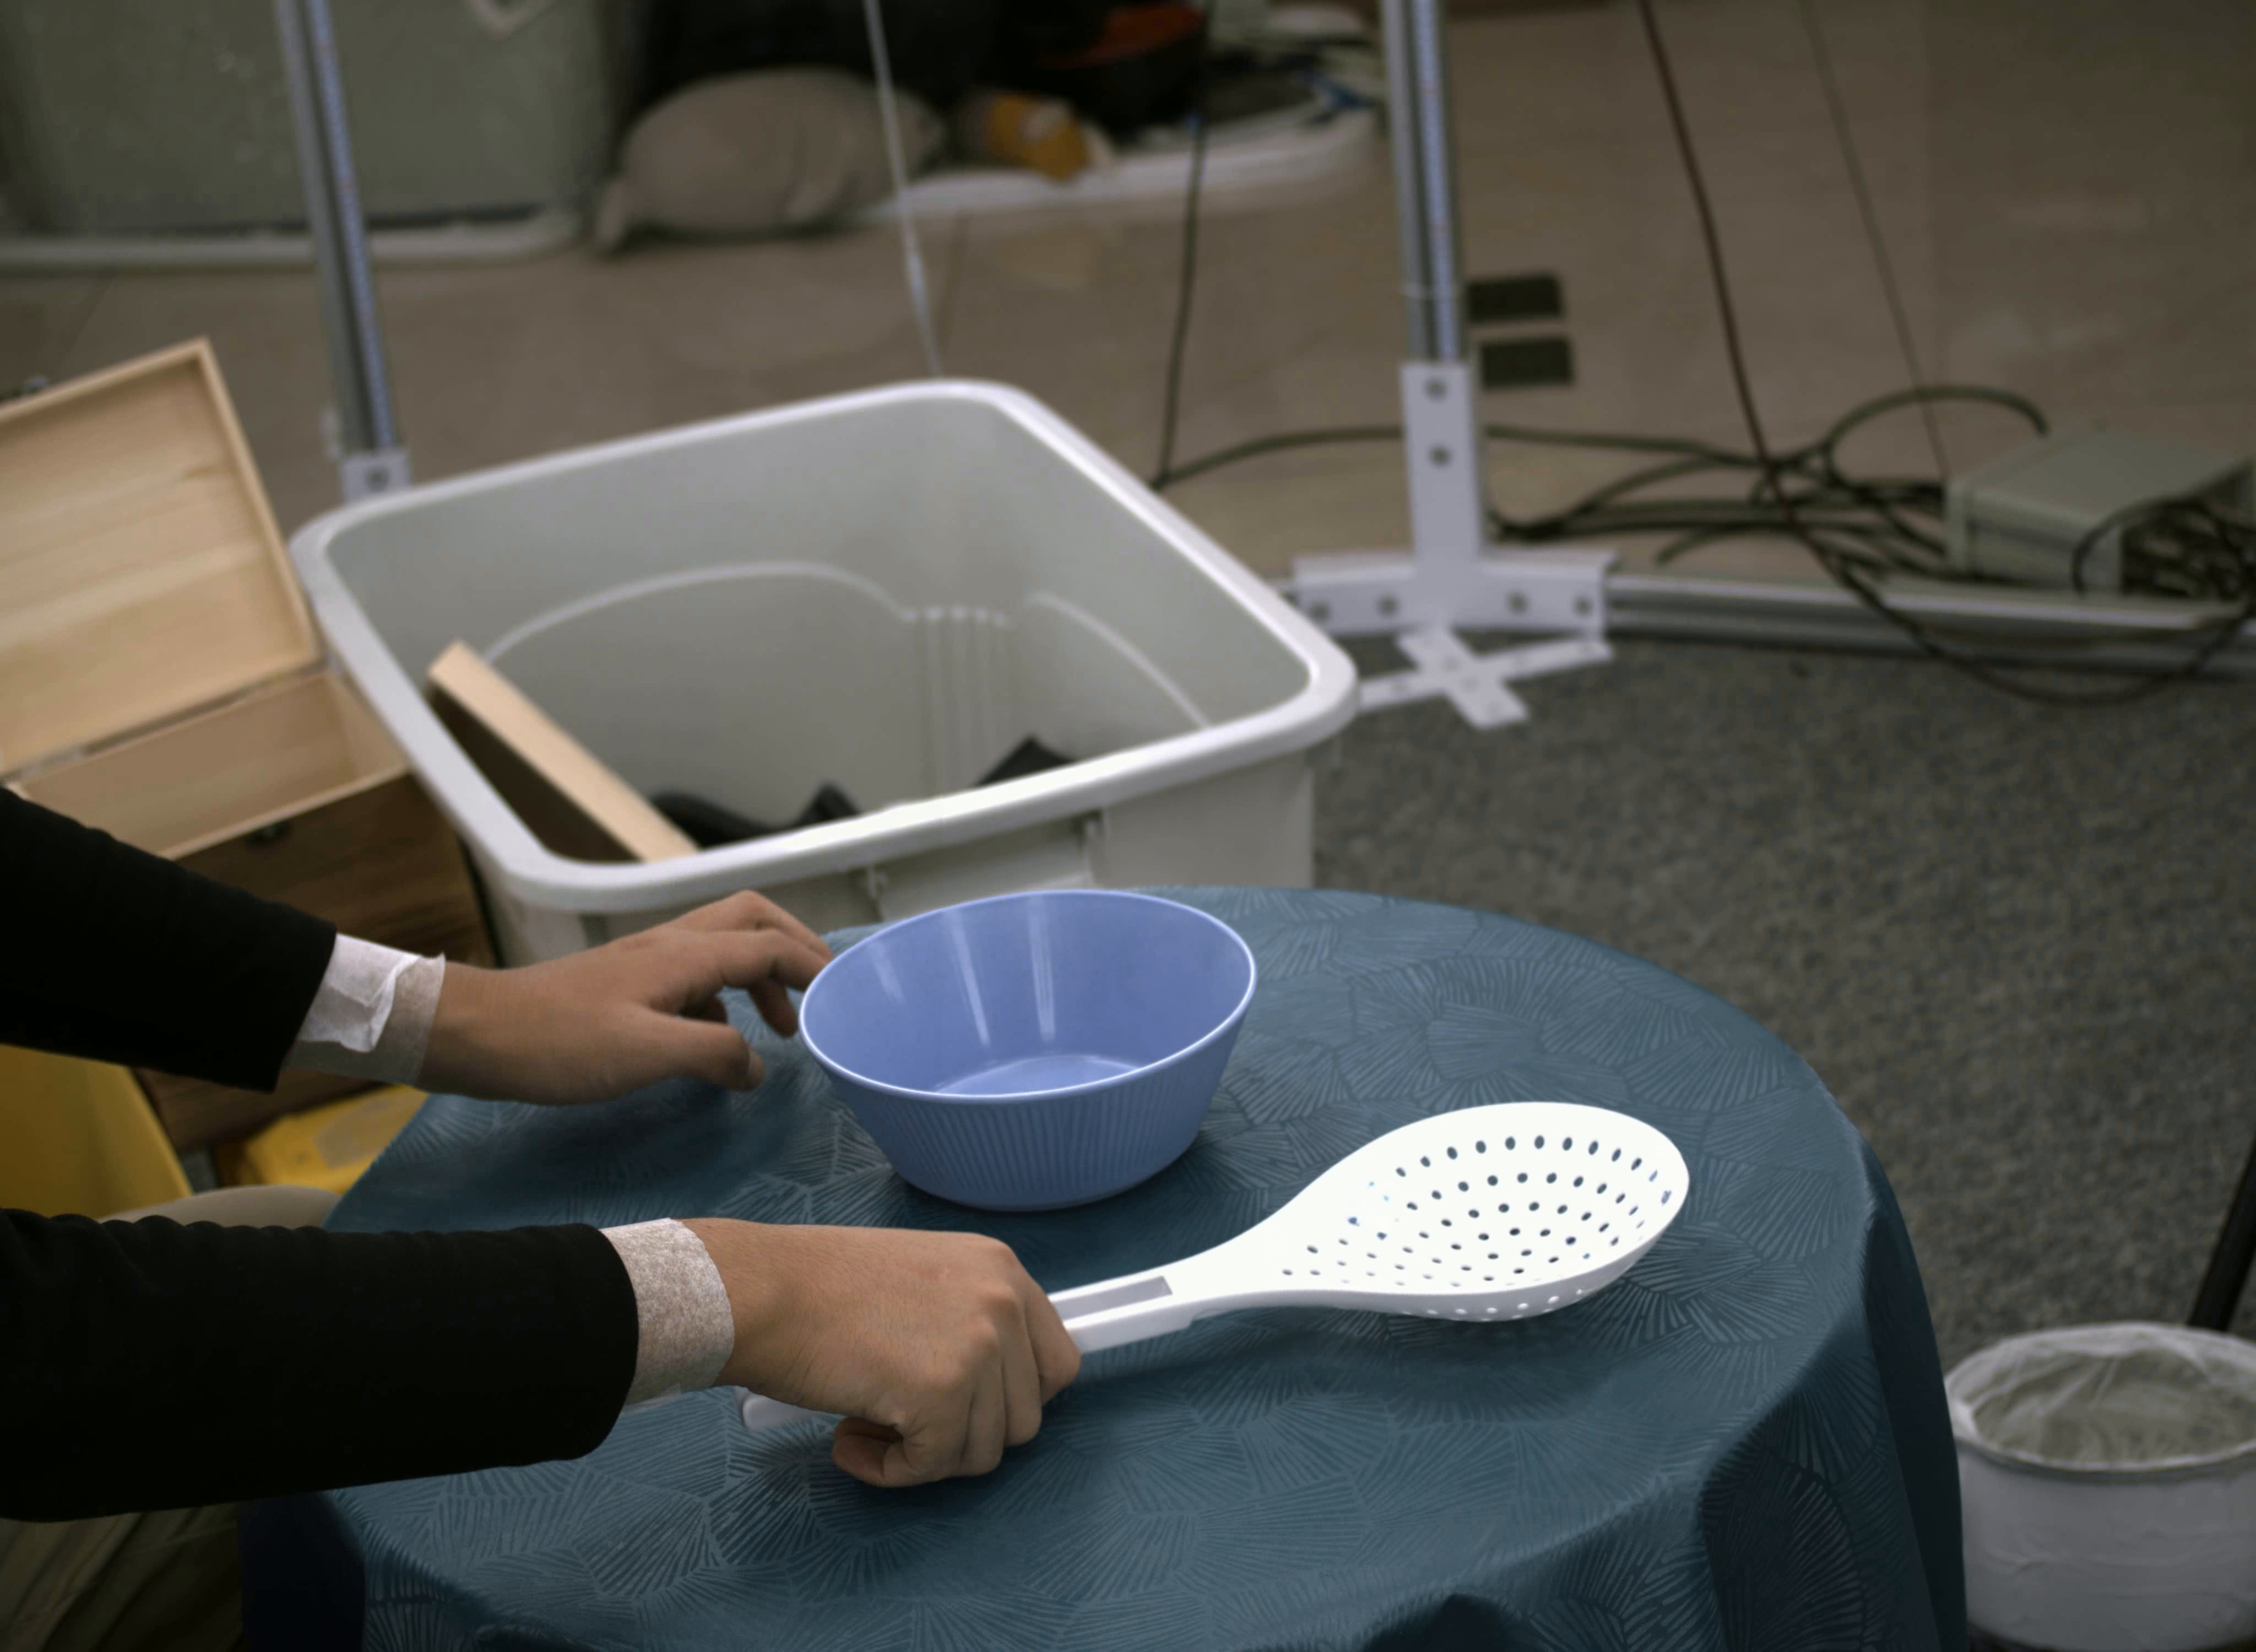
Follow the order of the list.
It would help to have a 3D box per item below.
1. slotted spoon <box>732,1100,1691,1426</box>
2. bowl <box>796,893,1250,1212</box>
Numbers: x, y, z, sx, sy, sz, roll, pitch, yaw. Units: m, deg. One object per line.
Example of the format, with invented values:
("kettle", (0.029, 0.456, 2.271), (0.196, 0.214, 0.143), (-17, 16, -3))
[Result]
("slotted spoon", (0.031, 0.162, 2.018), (0.349, 0.046, 0.134), (-9, 26, -12))
("bowl", (-0.037, 0.092, 2.174), (0.176, 0.071, 0.173), (-6, 26, 3))
